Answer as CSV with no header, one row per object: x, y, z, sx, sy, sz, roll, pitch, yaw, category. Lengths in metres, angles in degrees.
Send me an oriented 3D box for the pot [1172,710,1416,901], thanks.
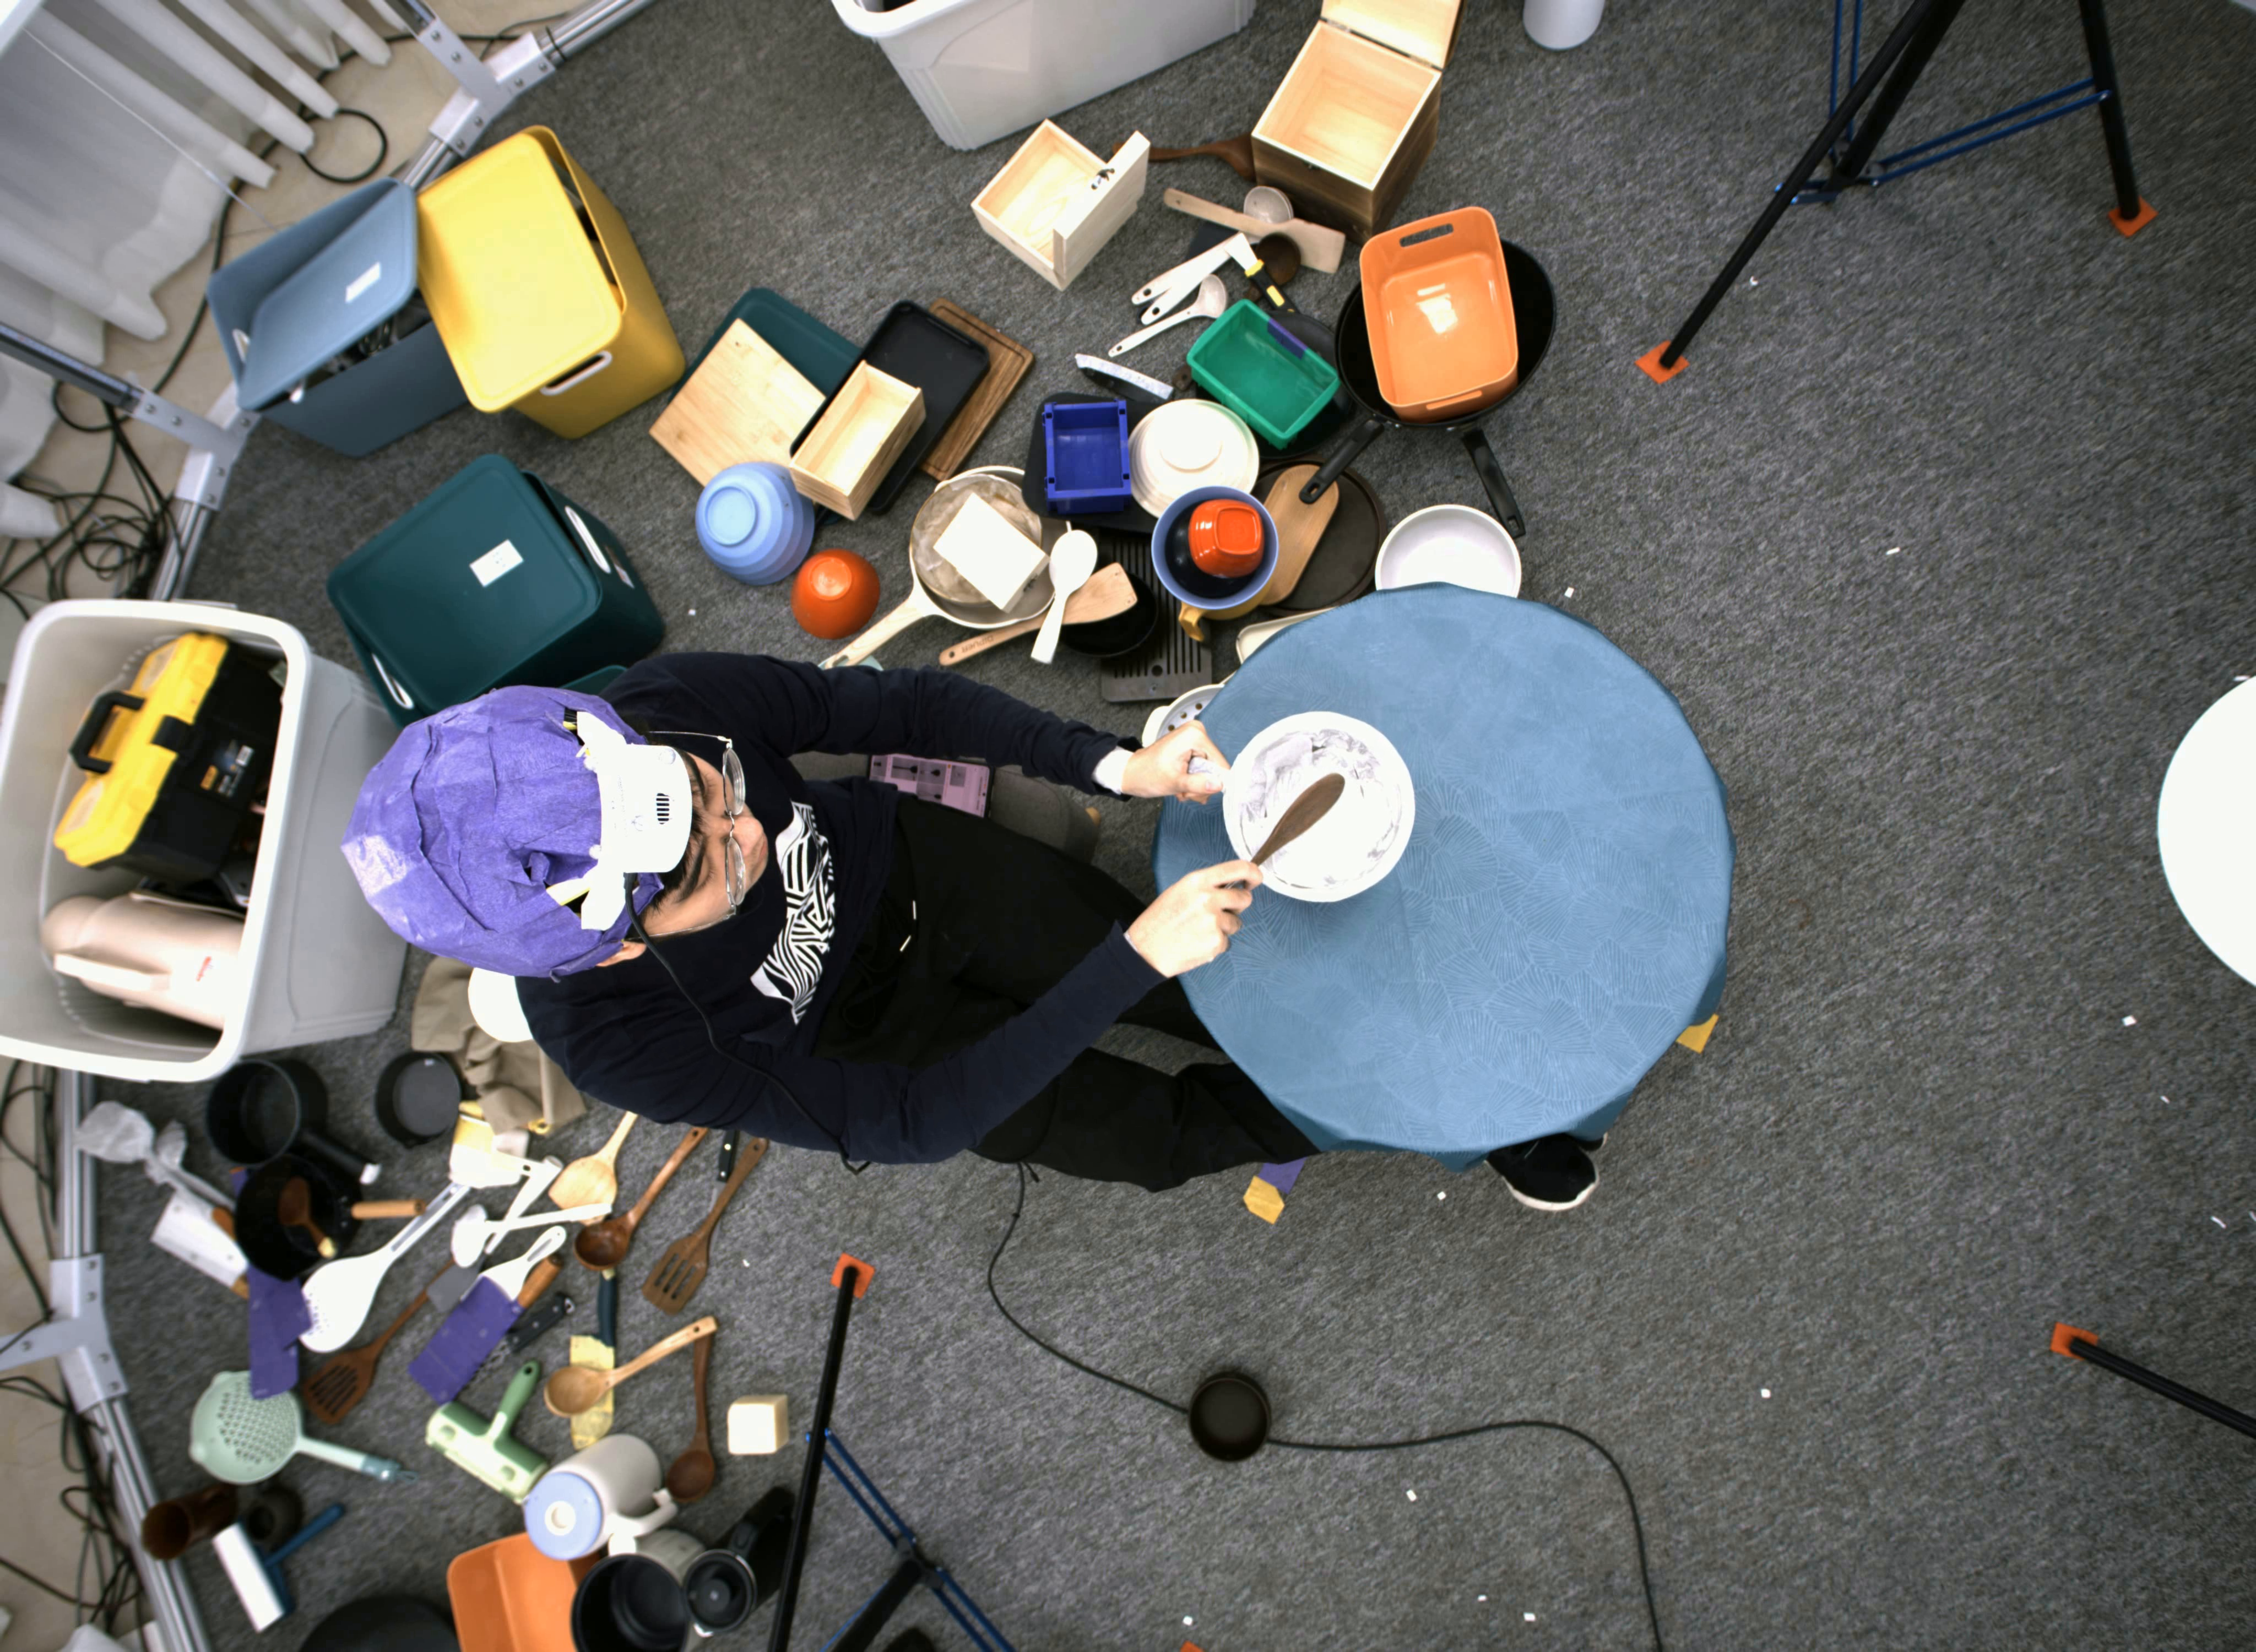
0.156,-0.023,1.345,0.234,0.137,0.178,15,89,5,pot

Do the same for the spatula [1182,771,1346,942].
0.126,0.030,1.271,0.214,0.073,0.009,-46,63,-6,spatula
